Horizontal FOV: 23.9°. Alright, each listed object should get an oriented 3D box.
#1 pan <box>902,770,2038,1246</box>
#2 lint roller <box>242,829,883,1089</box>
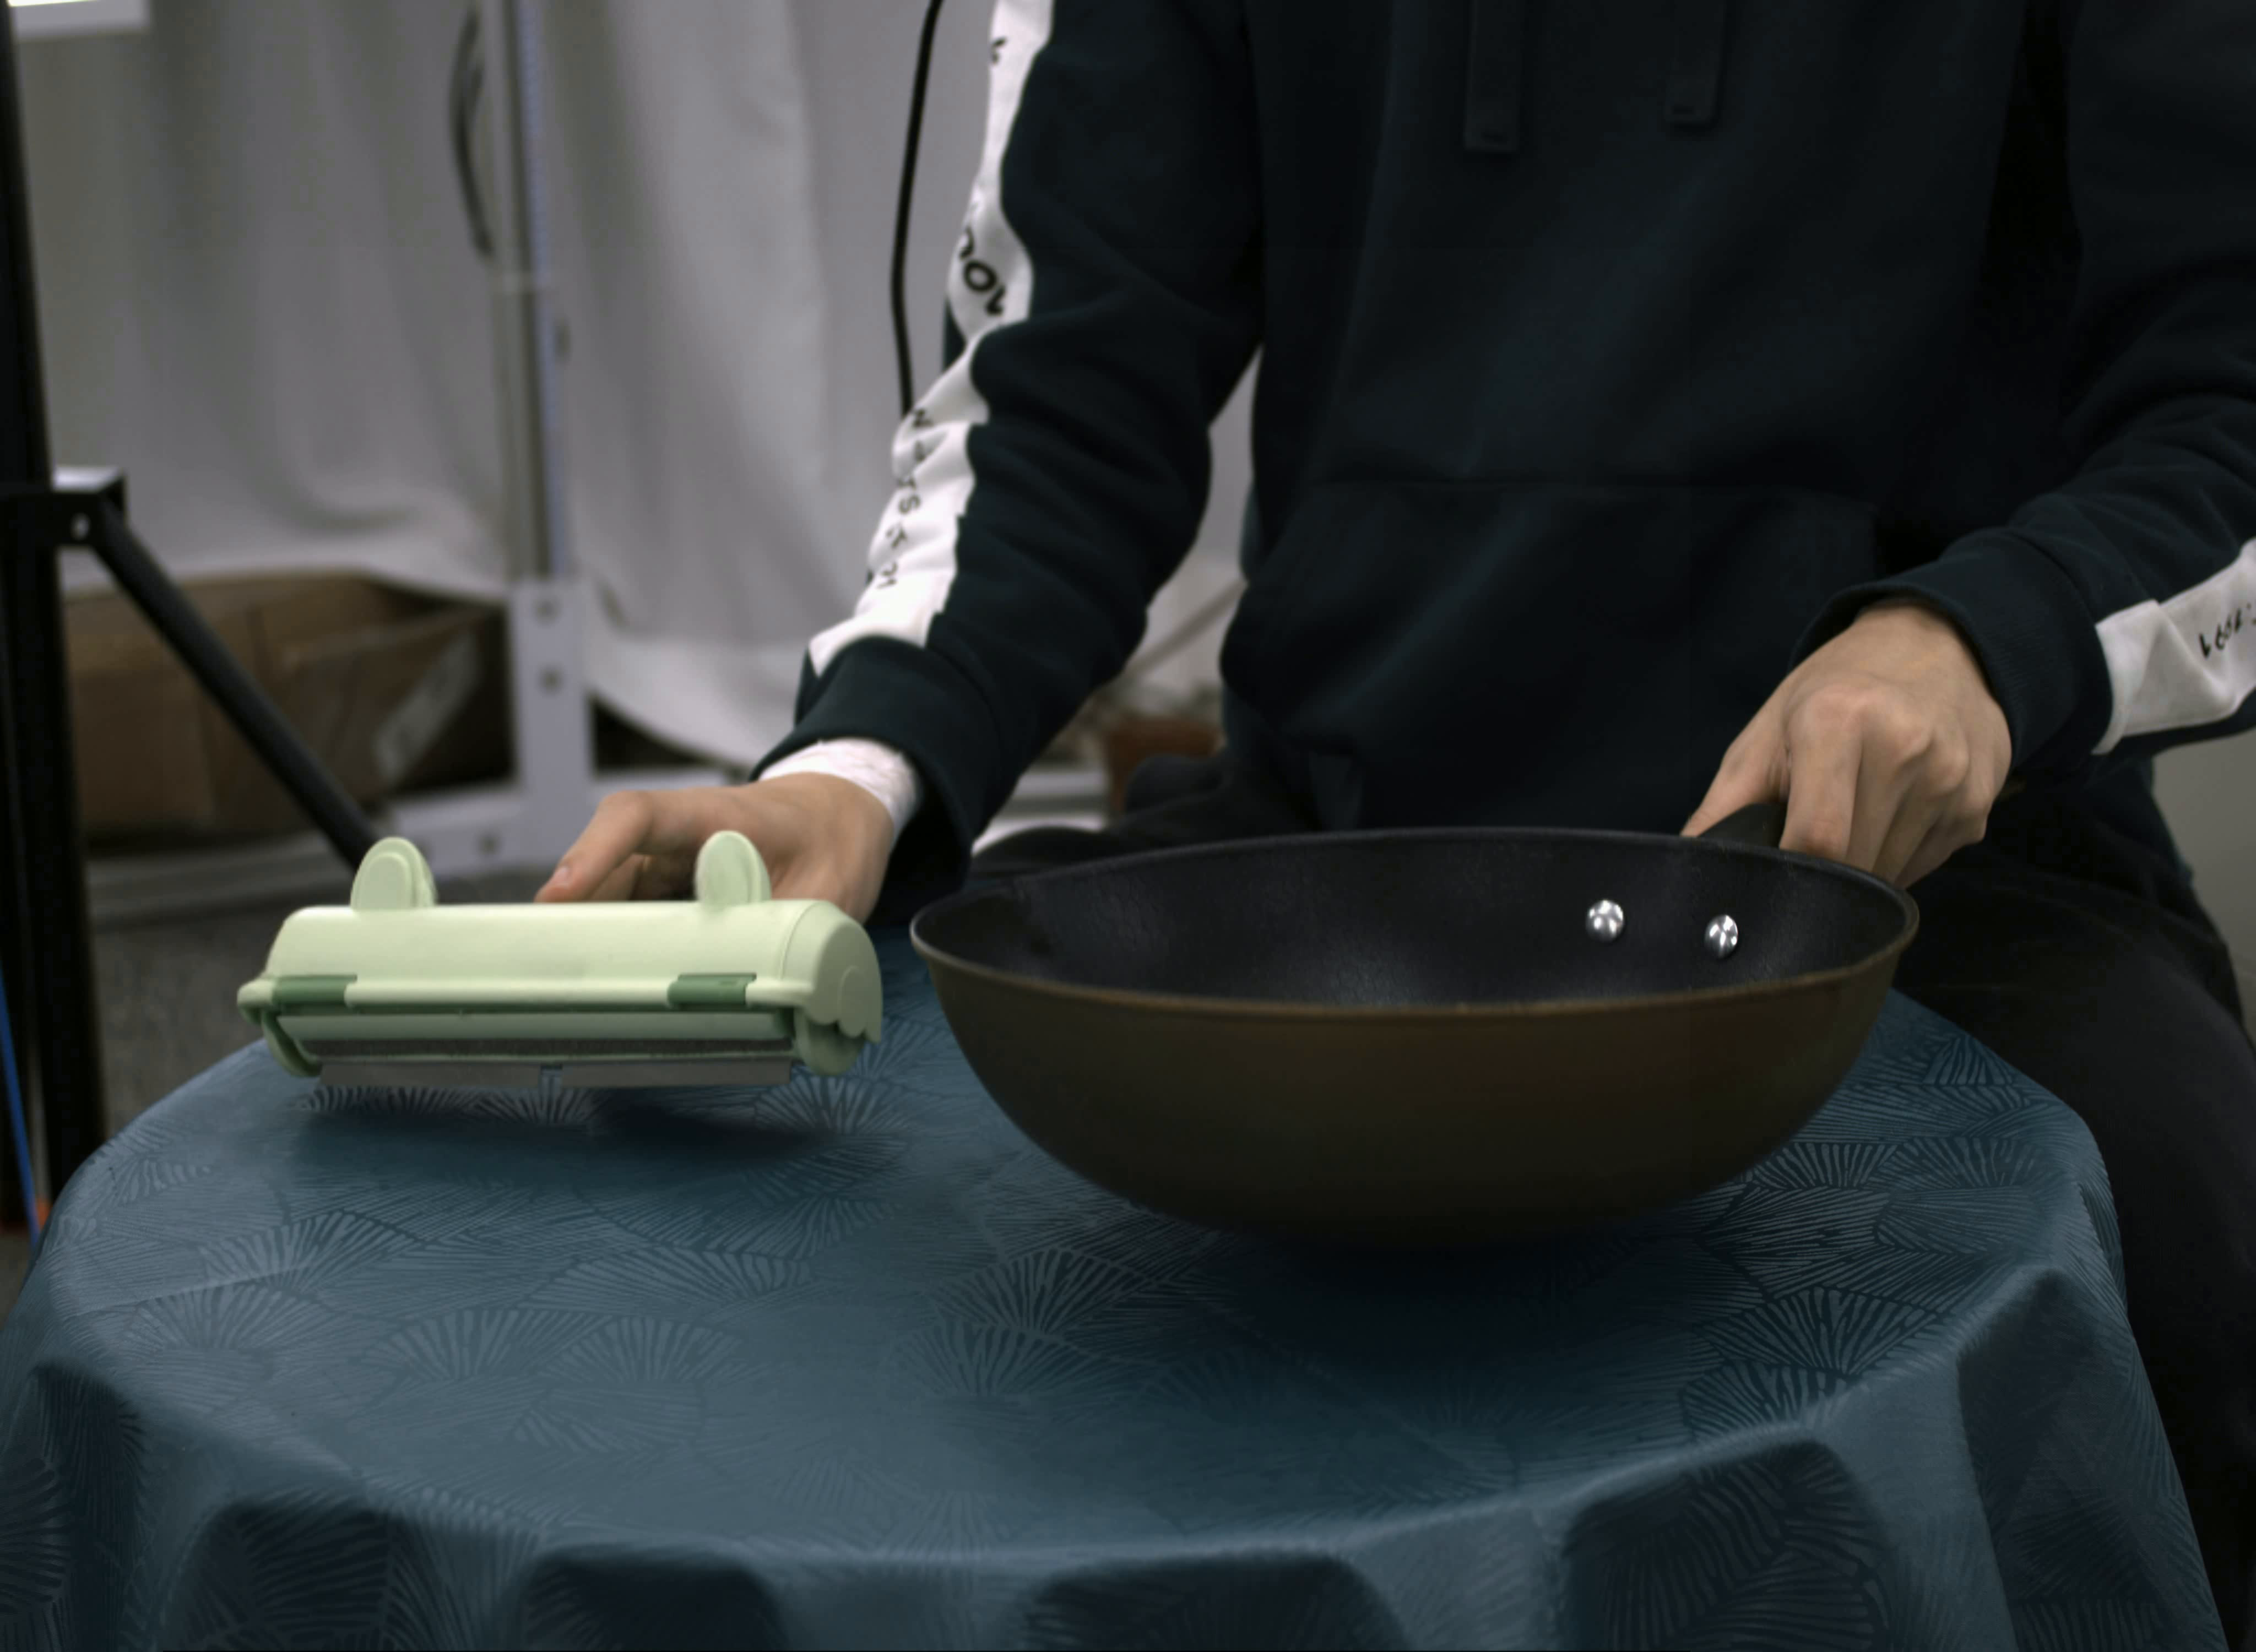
[{"bbox_3d":[0.135,0.049,1.547,0.294,0.087,0.452,6,11,39],"label":"pan"},{"bbox_3d":[-0.154,0.029,1.686,0.201,0.082,0.181,-2,16,24],"label":"lint roller"}]
